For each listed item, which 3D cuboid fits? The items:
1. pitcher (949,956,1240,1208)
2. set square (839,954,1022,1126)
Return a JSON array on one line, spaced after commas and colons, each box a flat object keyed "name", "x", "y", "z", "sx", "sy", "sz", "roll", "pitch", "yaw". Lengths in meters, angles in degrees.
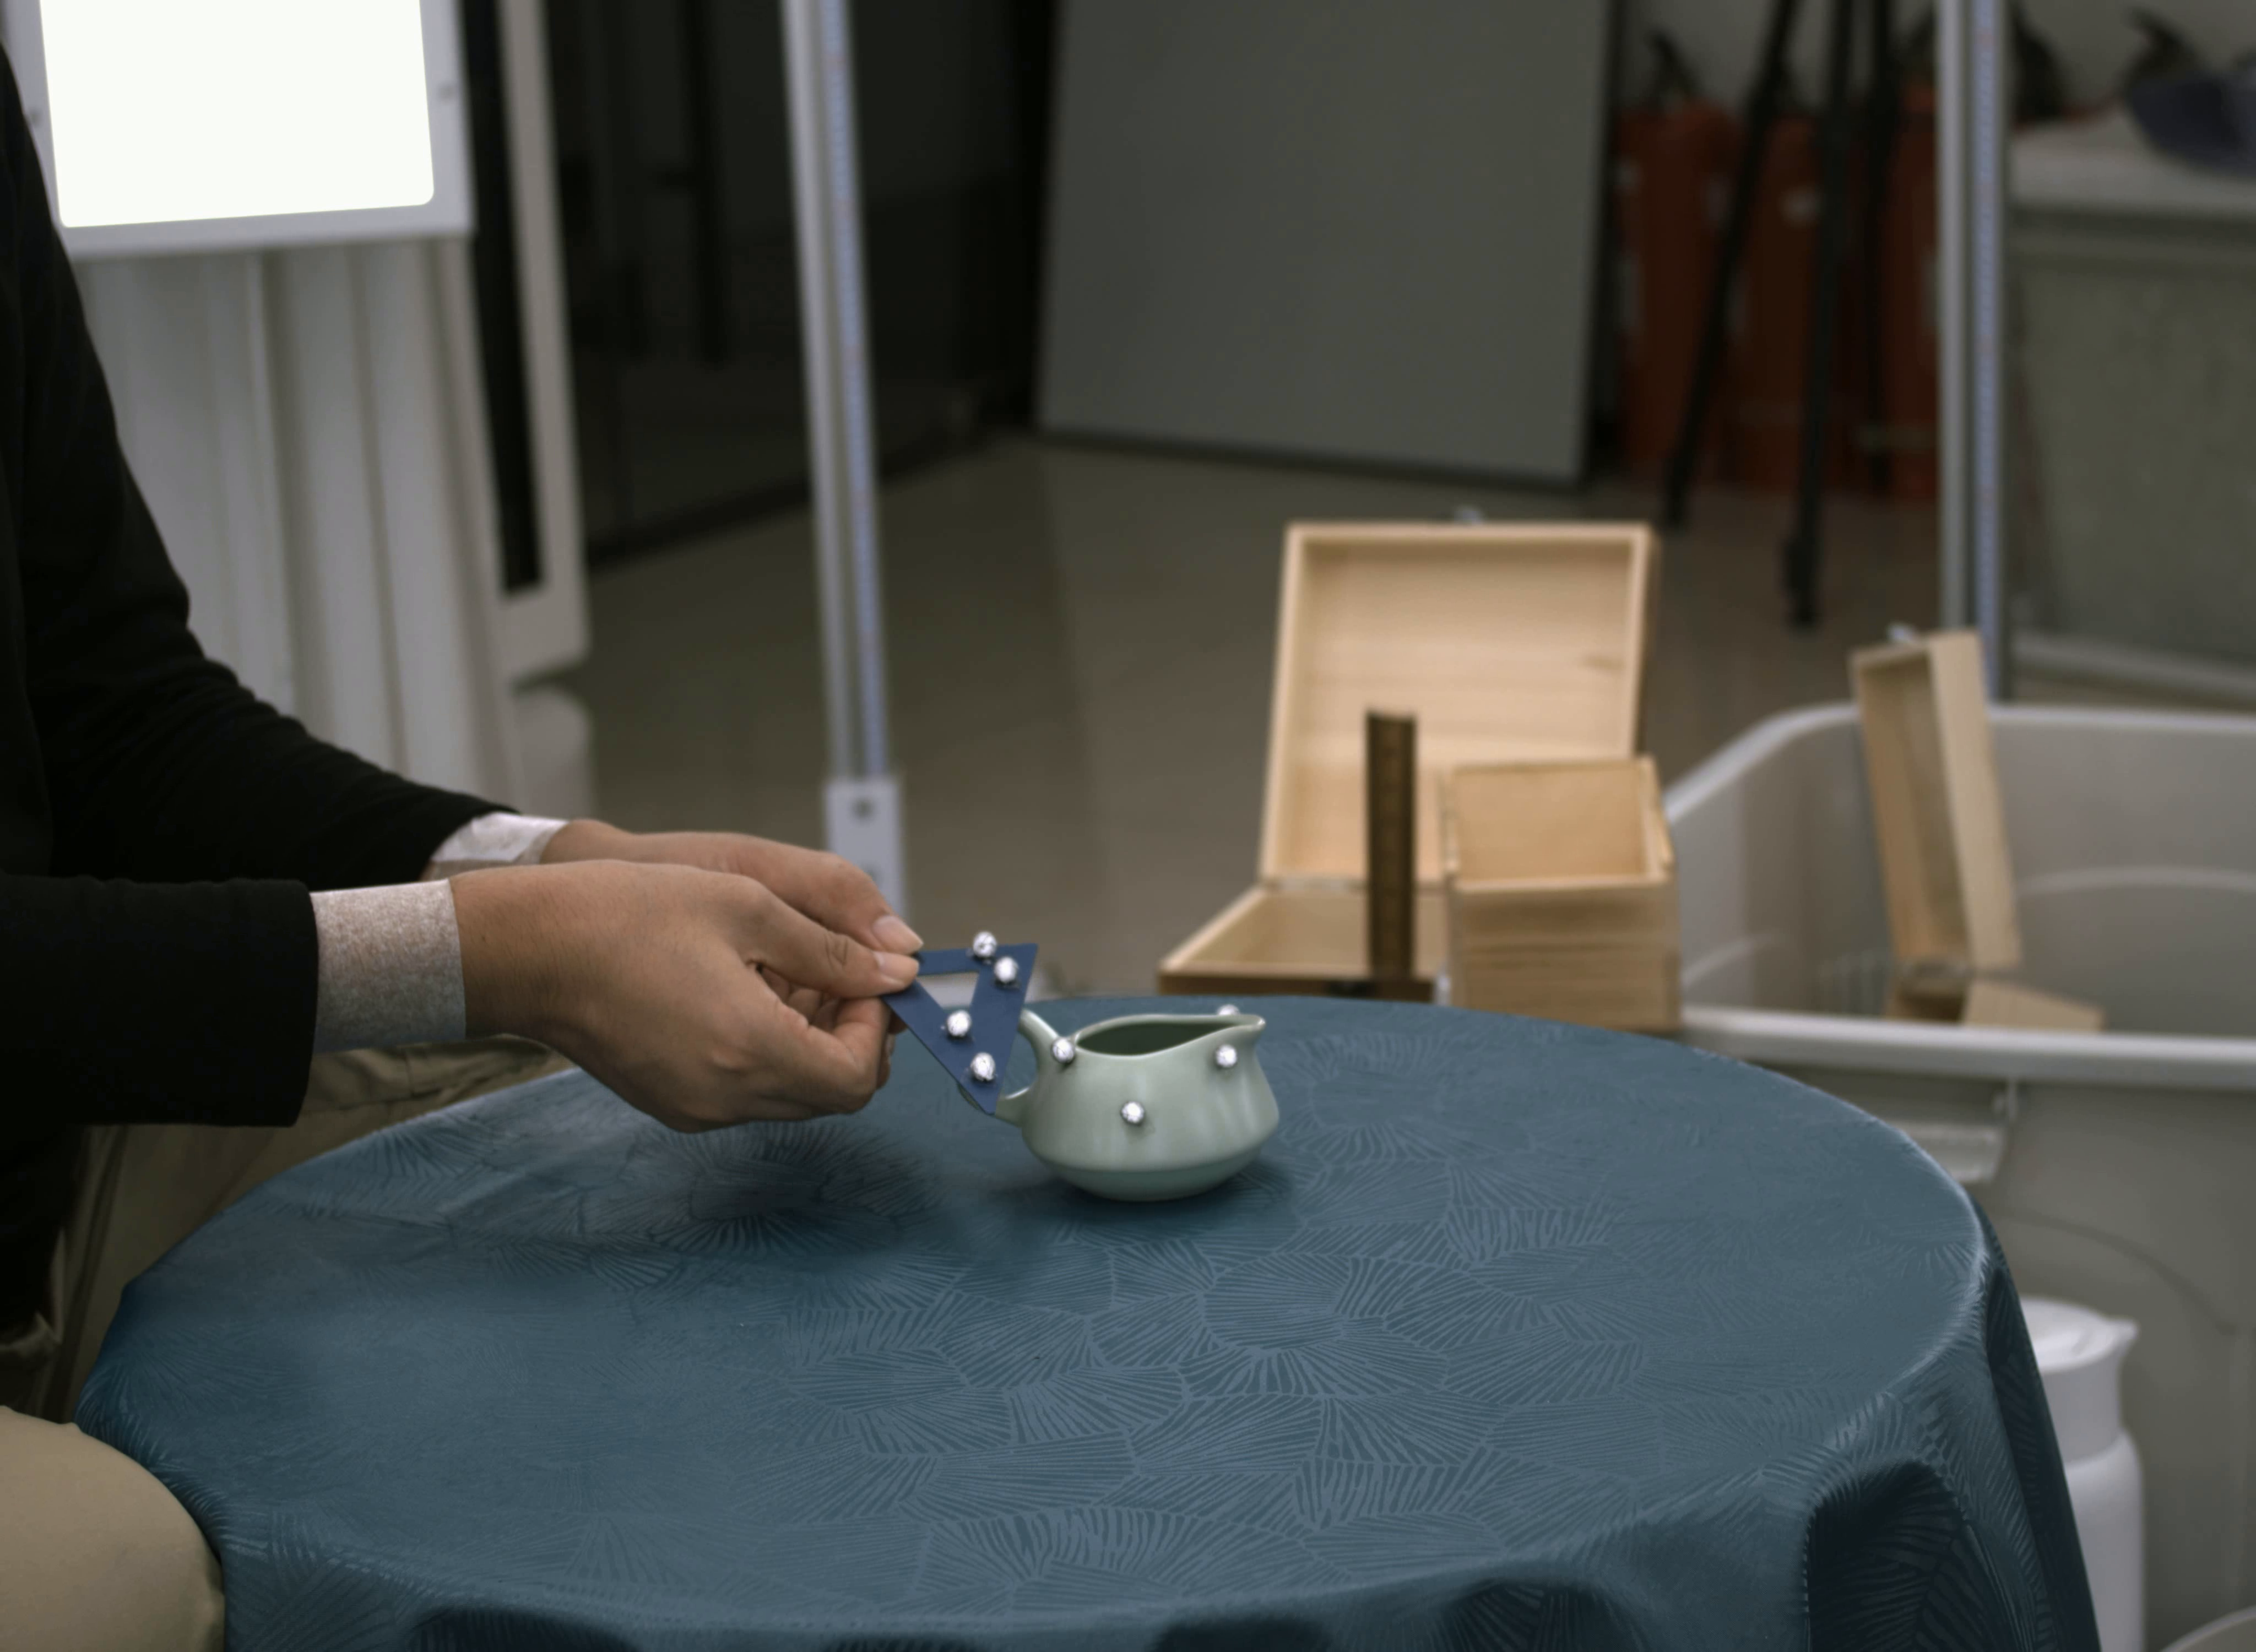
[{"name": "pitcher", "x": -0.014, "y": 0.084, "z": 1.781, "sx": 0.108, "sy": 0.061, "sz": 0.085, "roll": 22, "pitch": 34, "yaw": 23}, {"name": "set square", "x": -0.071, "y": 0.064, "z": 1.750, "sx": 0.060, "sy": 0.006, "sz": 0.131, "roll": 11, "pitch": 23, "yaw": 6}]
